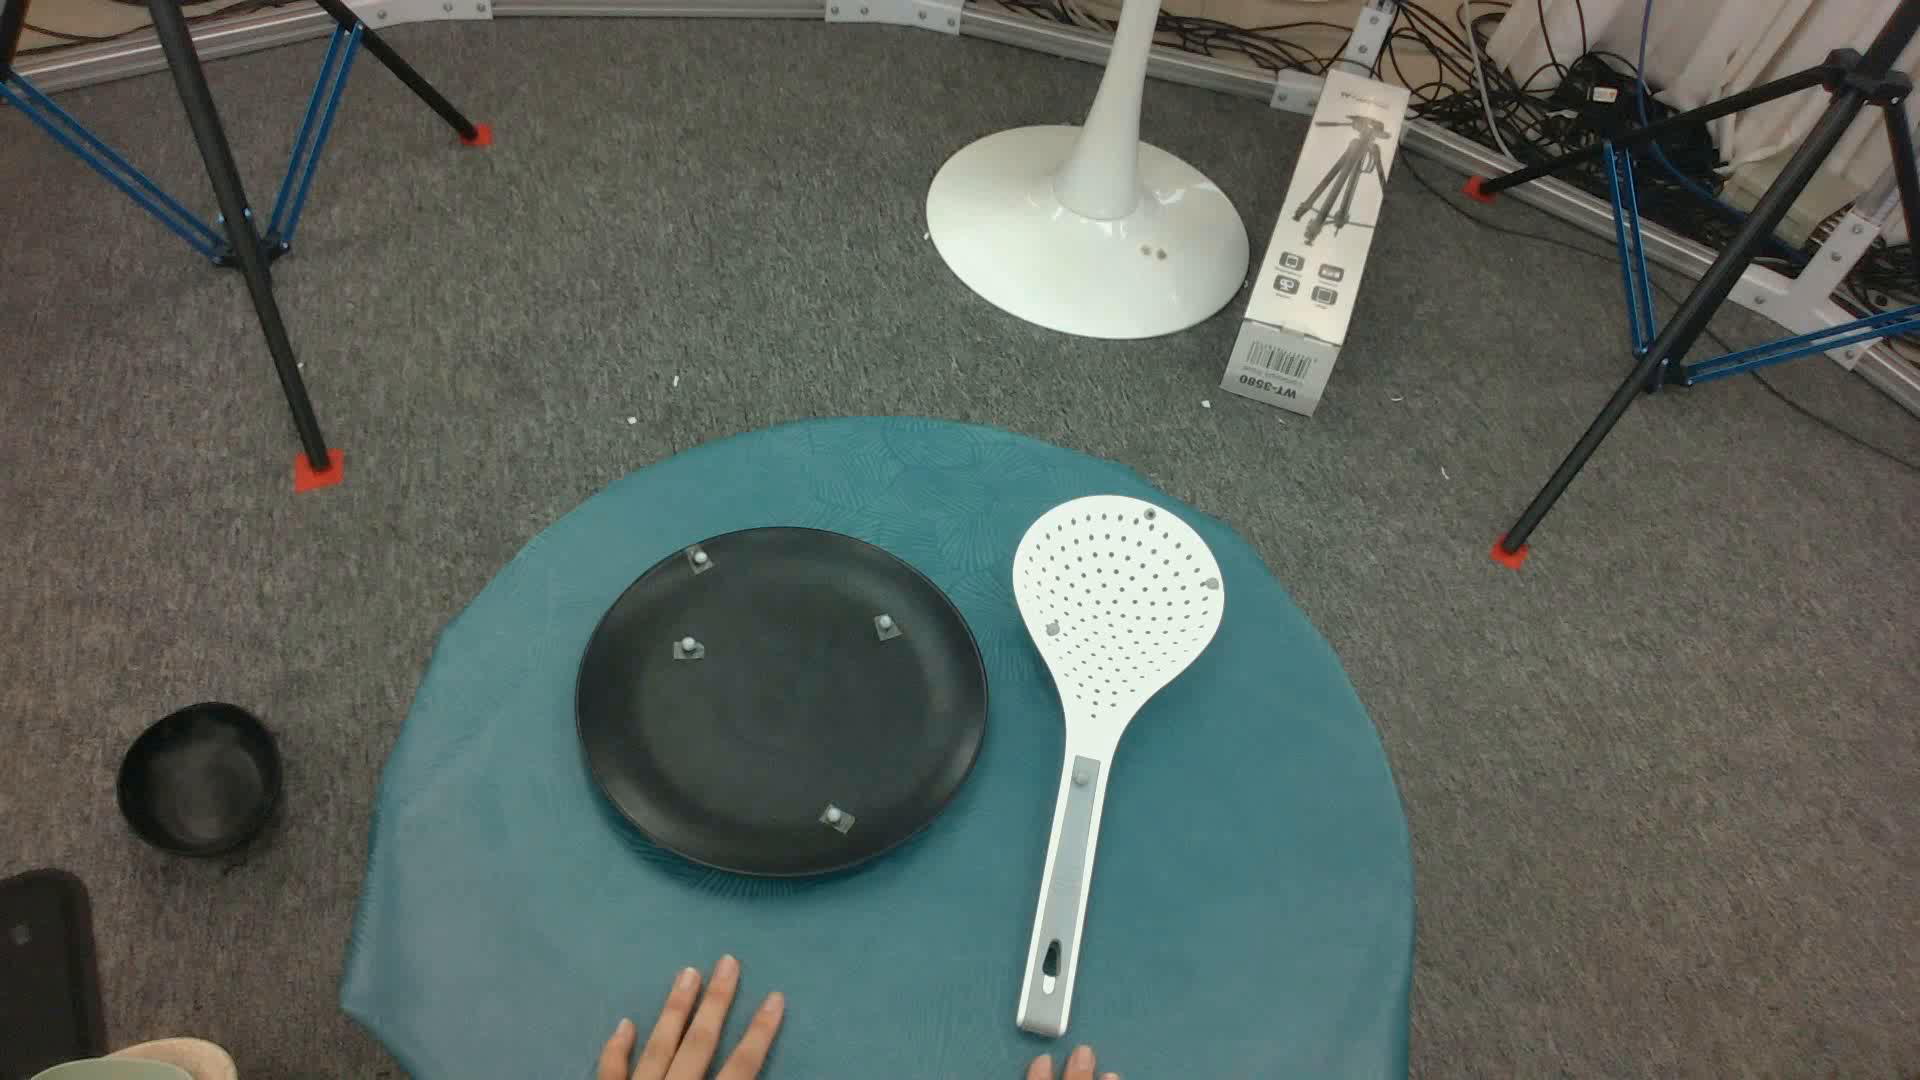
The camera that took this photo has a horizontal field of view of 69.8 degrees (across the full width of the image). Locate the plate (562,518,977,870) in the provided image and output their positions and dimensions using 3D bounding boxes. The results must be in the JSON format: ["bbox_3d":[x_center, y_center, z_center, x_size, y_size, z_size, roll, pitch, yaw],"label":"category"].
[{"bbox_3d":[-0.112,0.086,0.824,0.244,0.023,0.245,5,51,-7],"label":"plate"}]

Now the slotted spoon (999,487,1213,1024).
[{"bbox_3d":[0.071,0.113,0.823,0.136,0.045,0.351,13,51,3],"label":"slotted spoon"}]
